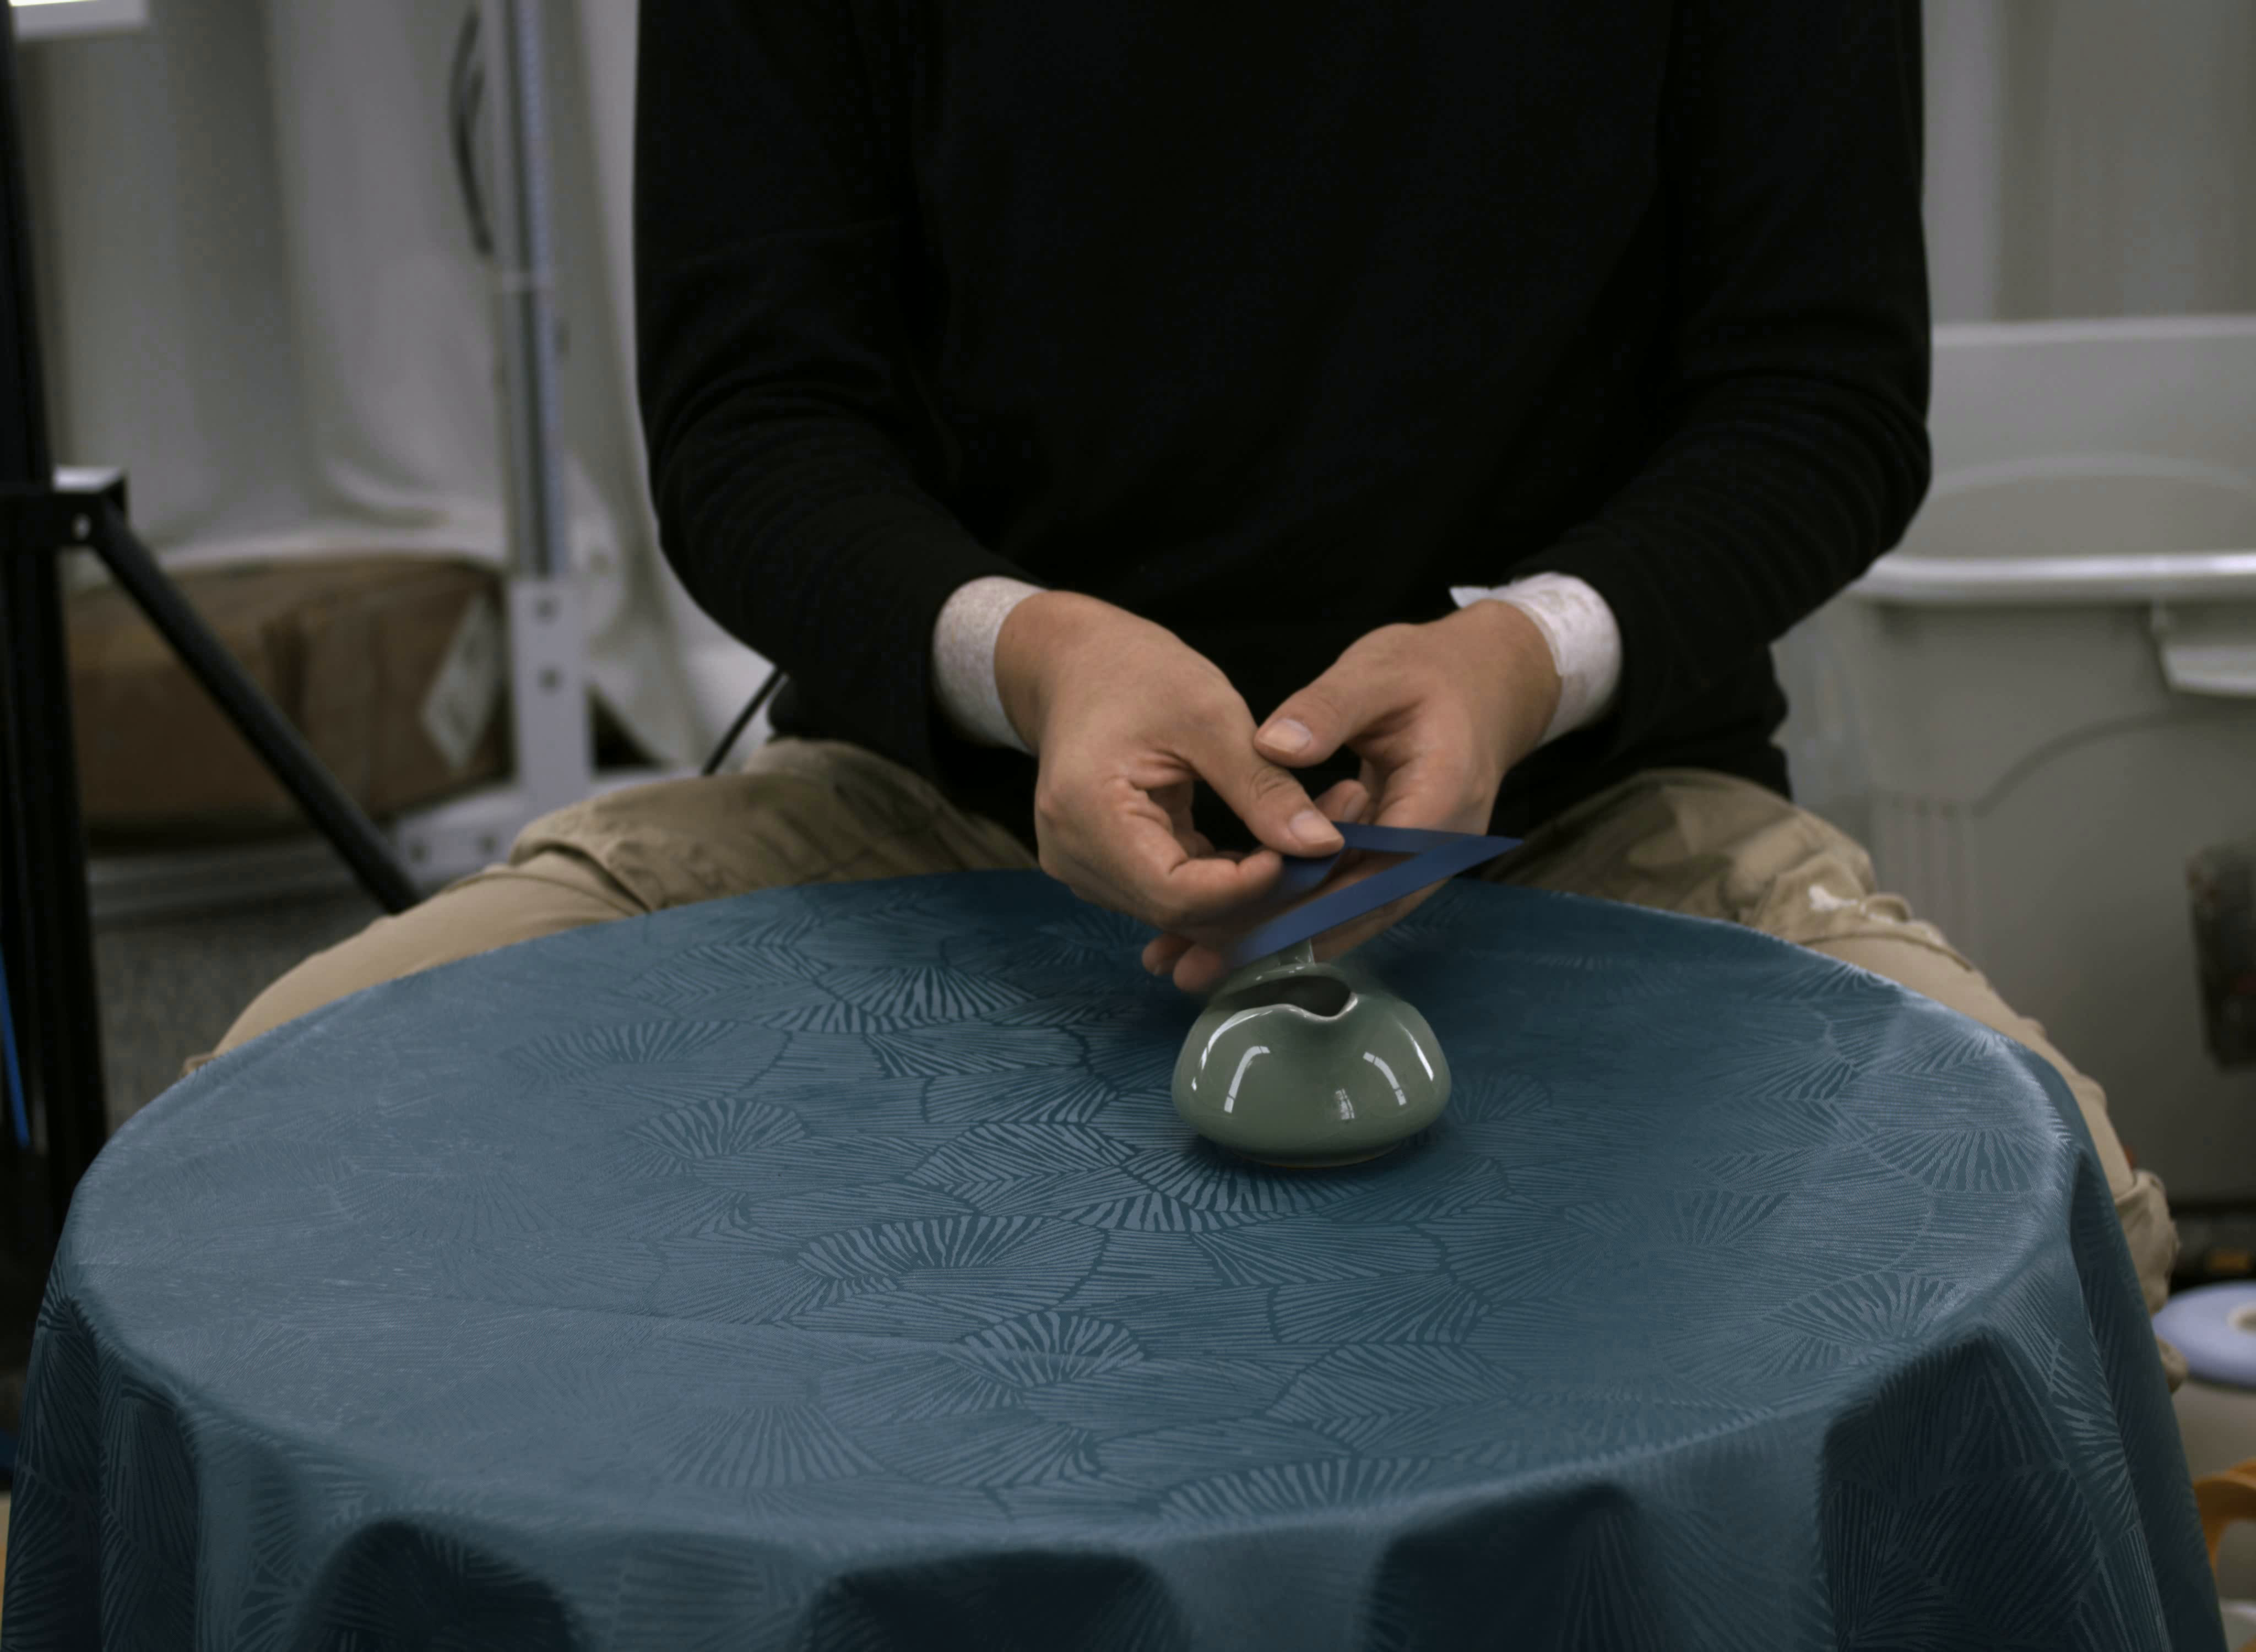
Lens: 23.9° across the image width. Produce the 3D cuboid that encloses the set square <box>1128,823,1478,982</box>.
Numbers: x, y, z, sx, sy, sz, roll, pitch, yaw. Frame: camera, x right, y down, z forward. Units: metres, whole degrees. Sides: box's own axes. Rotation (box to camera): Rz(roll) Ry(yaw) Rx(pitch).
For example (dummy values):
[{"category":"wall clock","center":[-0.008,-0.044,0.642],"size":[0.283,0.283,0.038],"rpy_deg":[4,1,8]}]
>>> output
[{"category":"set square","center":[0.041,0.019,1.643],"size":[0.129,0.006,0.062],"rpy_deg":[-21,30,-31]}]

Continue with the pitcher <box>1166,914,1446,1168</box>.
[{"category":"pitcher","center":[0.053,0.066,1.595],"size":[0.083,0.056,0.113],"rpy_deg":[-1,15,-5]}]
